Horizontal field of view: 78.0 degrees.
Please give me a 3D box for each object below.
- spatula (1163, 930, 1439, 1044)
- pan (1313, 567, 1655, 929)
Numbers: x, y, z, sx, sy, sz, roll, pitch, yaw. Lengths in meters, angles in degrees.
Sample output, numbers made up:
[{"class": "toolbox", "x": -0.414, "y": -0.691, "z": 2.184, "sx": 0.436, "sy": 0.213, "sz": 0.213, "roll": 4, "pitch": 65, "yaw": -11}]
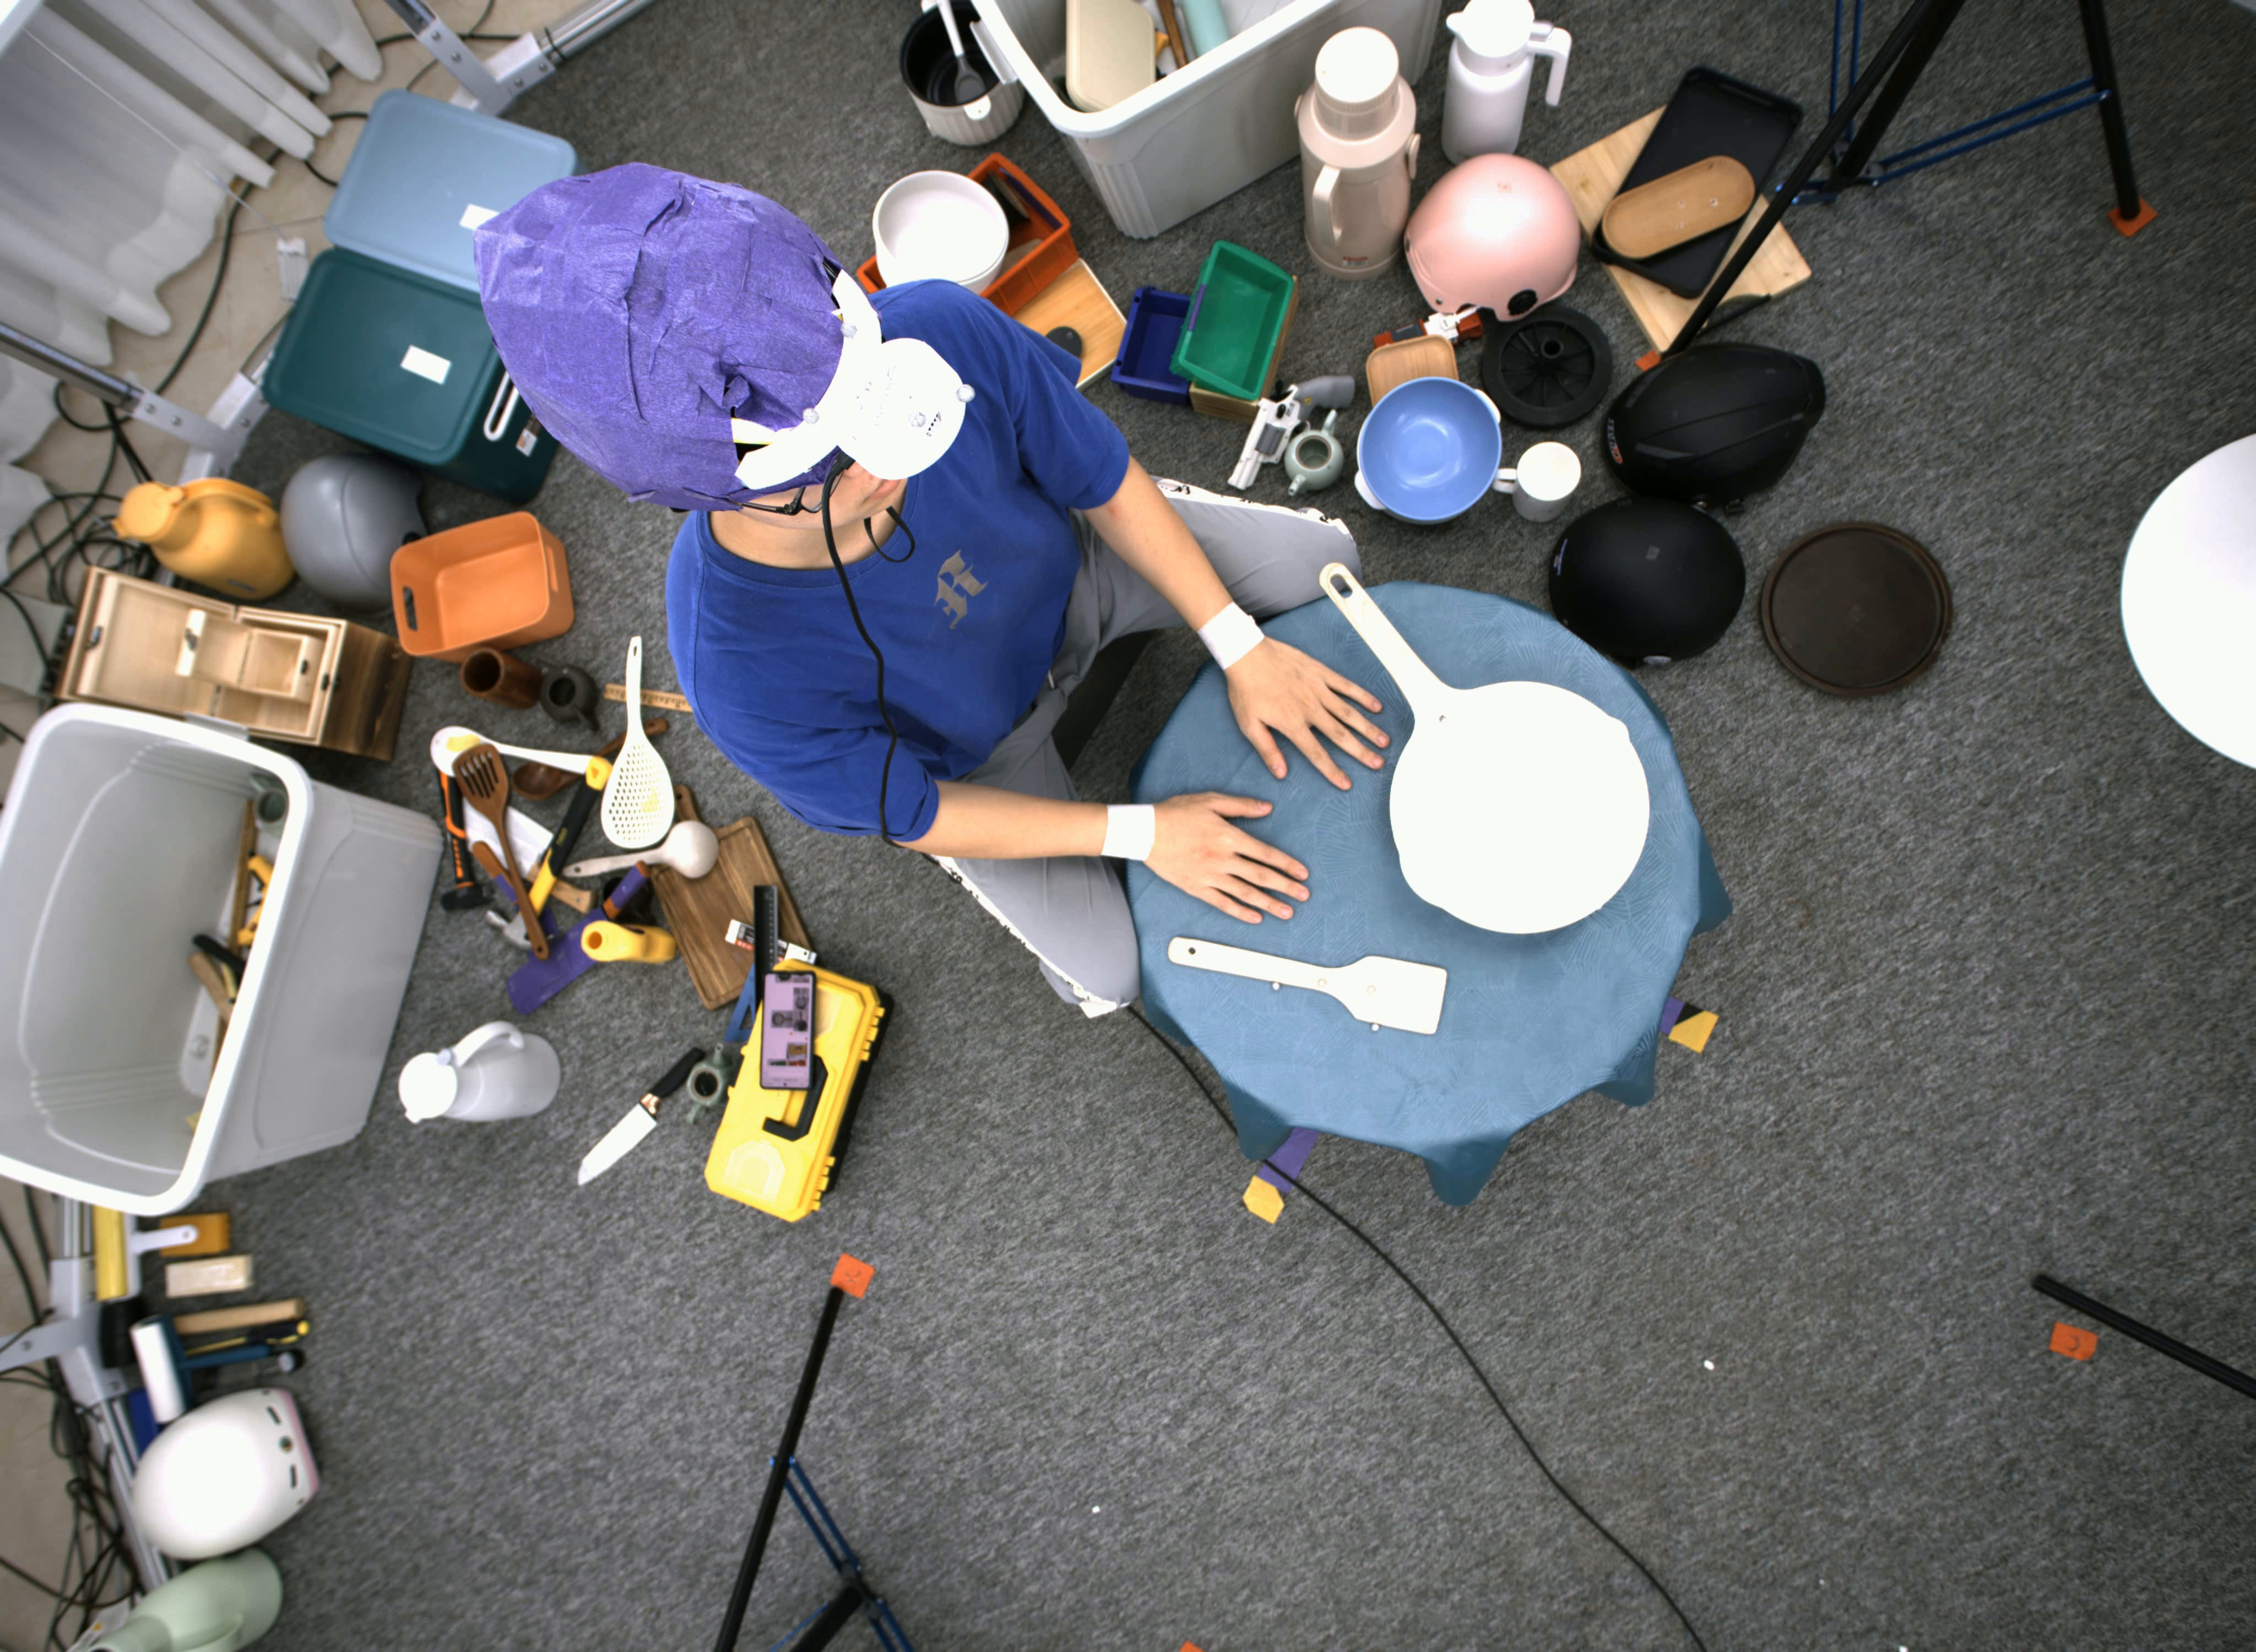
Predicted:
[{"class": "spatula", "x": 0.178, "y": 0.159, "z": 1.466, "sx": 0.293, "sy": 0.010, "sz": 0.072, "roll": 14, "pitch": 92, "yaw": 10}, {"class": "pan", "x": 0.341, "y": -0.093, "z": 1.404, "sx": 0.265, "sy": 0.102, "sz": 0.432, "roll": -40, "pitch": 80, "yaw": 8}]
